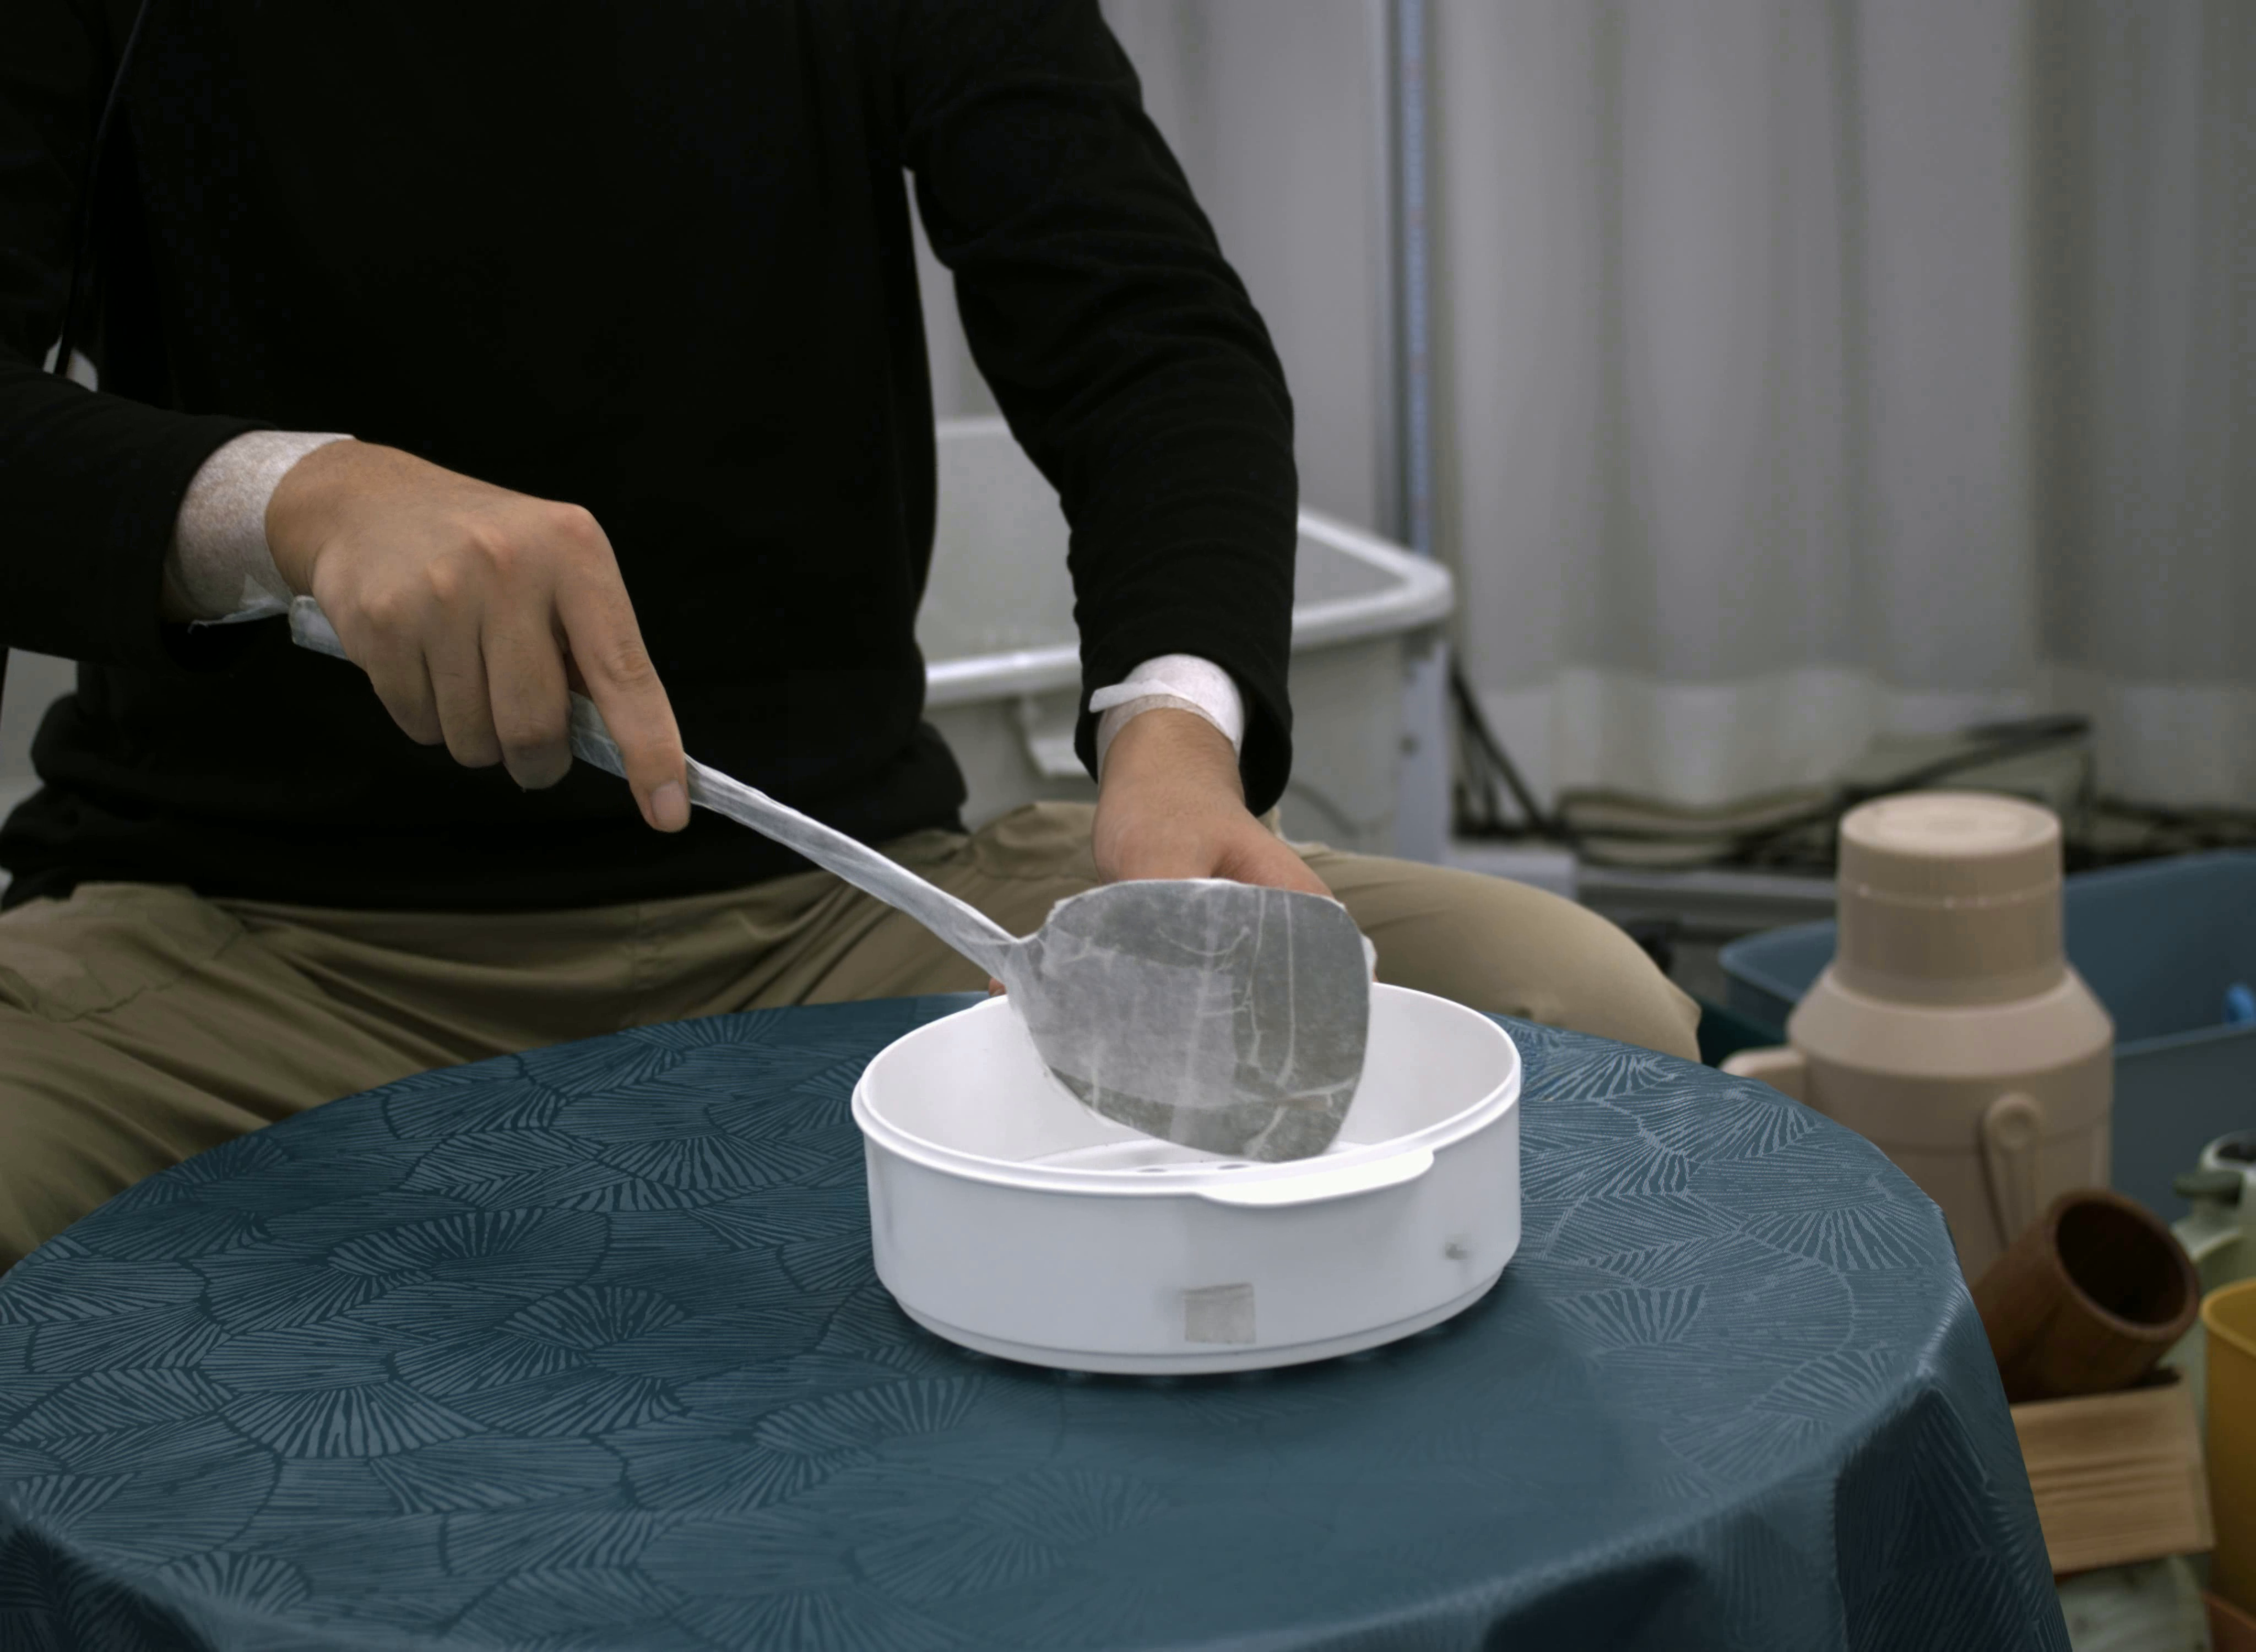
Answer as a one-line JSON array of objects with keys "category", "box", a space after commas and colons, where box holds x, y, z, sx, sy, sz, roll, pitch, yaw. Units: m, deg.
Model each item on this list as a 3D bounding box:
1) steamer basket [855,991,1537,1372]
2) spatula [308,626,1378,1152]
[{"category": "steamer basket", "box": [0.021, 0.103, 1.618, 0.201, 0.069, 0.232, -7, 14, -20]}, {"category": "spatula", "box": [-0.091, 0.003, 1.630, 0.367, 0.097, 0.045, 26, 39, 25]}]
